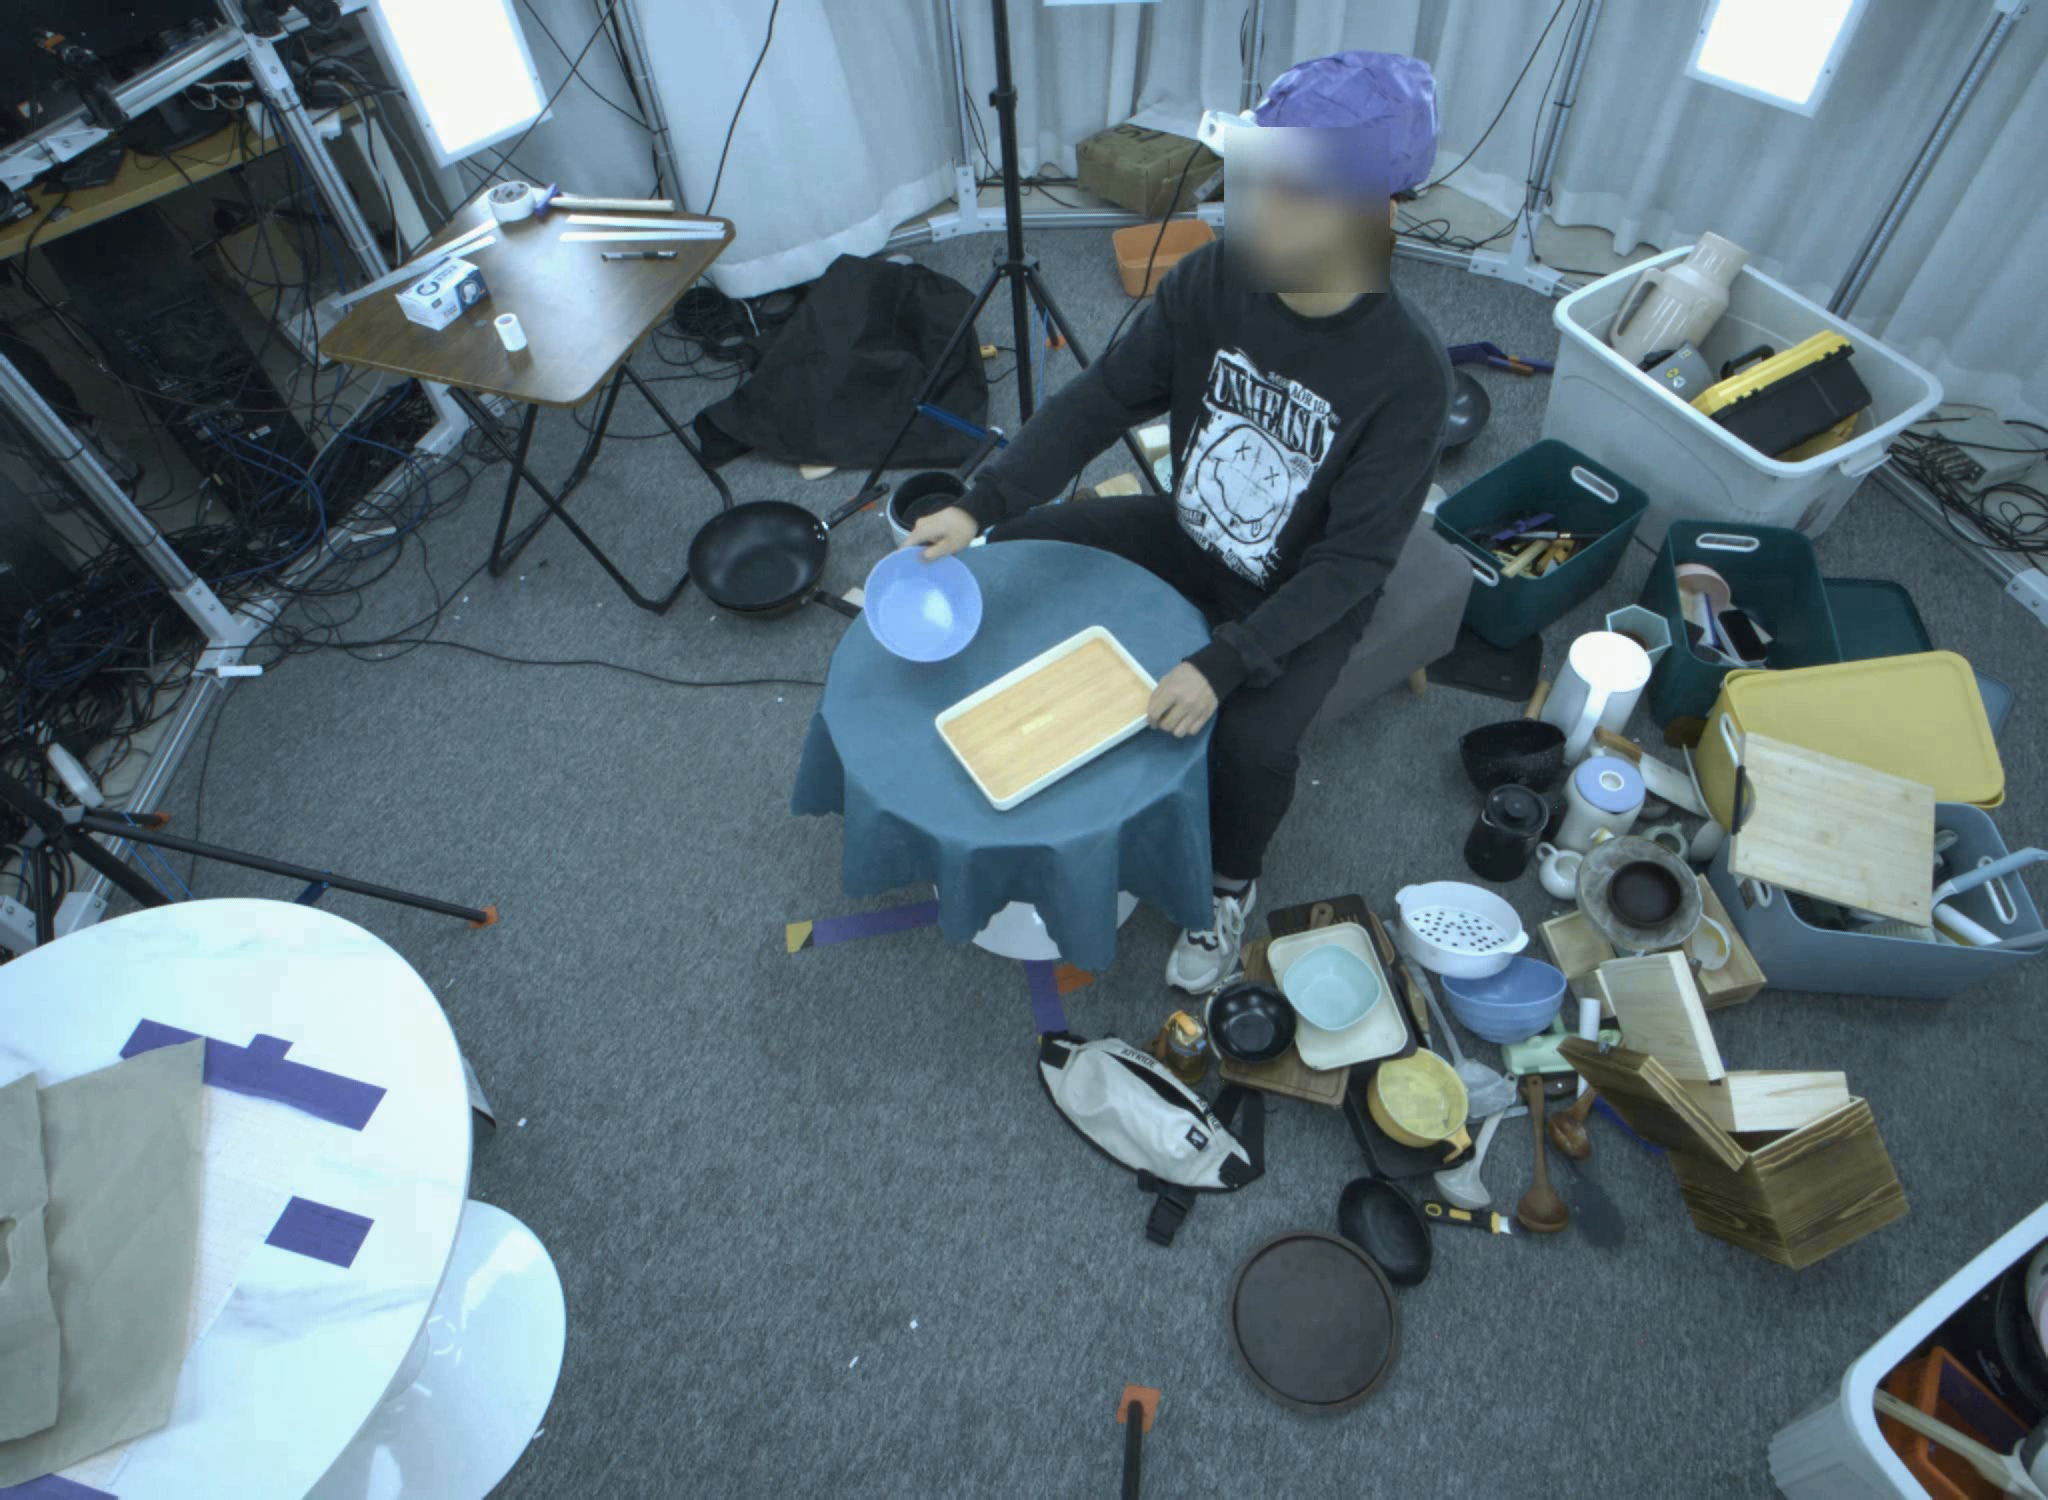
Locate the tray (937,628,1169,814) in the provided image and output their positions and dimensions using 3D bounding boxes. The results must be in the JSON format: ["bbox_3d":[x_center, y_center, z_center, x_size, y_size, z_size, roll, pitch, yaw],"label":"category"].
[{"bbox_3d":[0.042,-0.047,1.797,0.302,0.028,0.188,-31,59,-13],"label":"tray"}]

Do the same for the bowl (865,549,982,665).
[{"bbox_3d":[-0.155,-0.206,1.825,0.178,0.069,0.175,3,82,-17],"label":"bowl"}]
